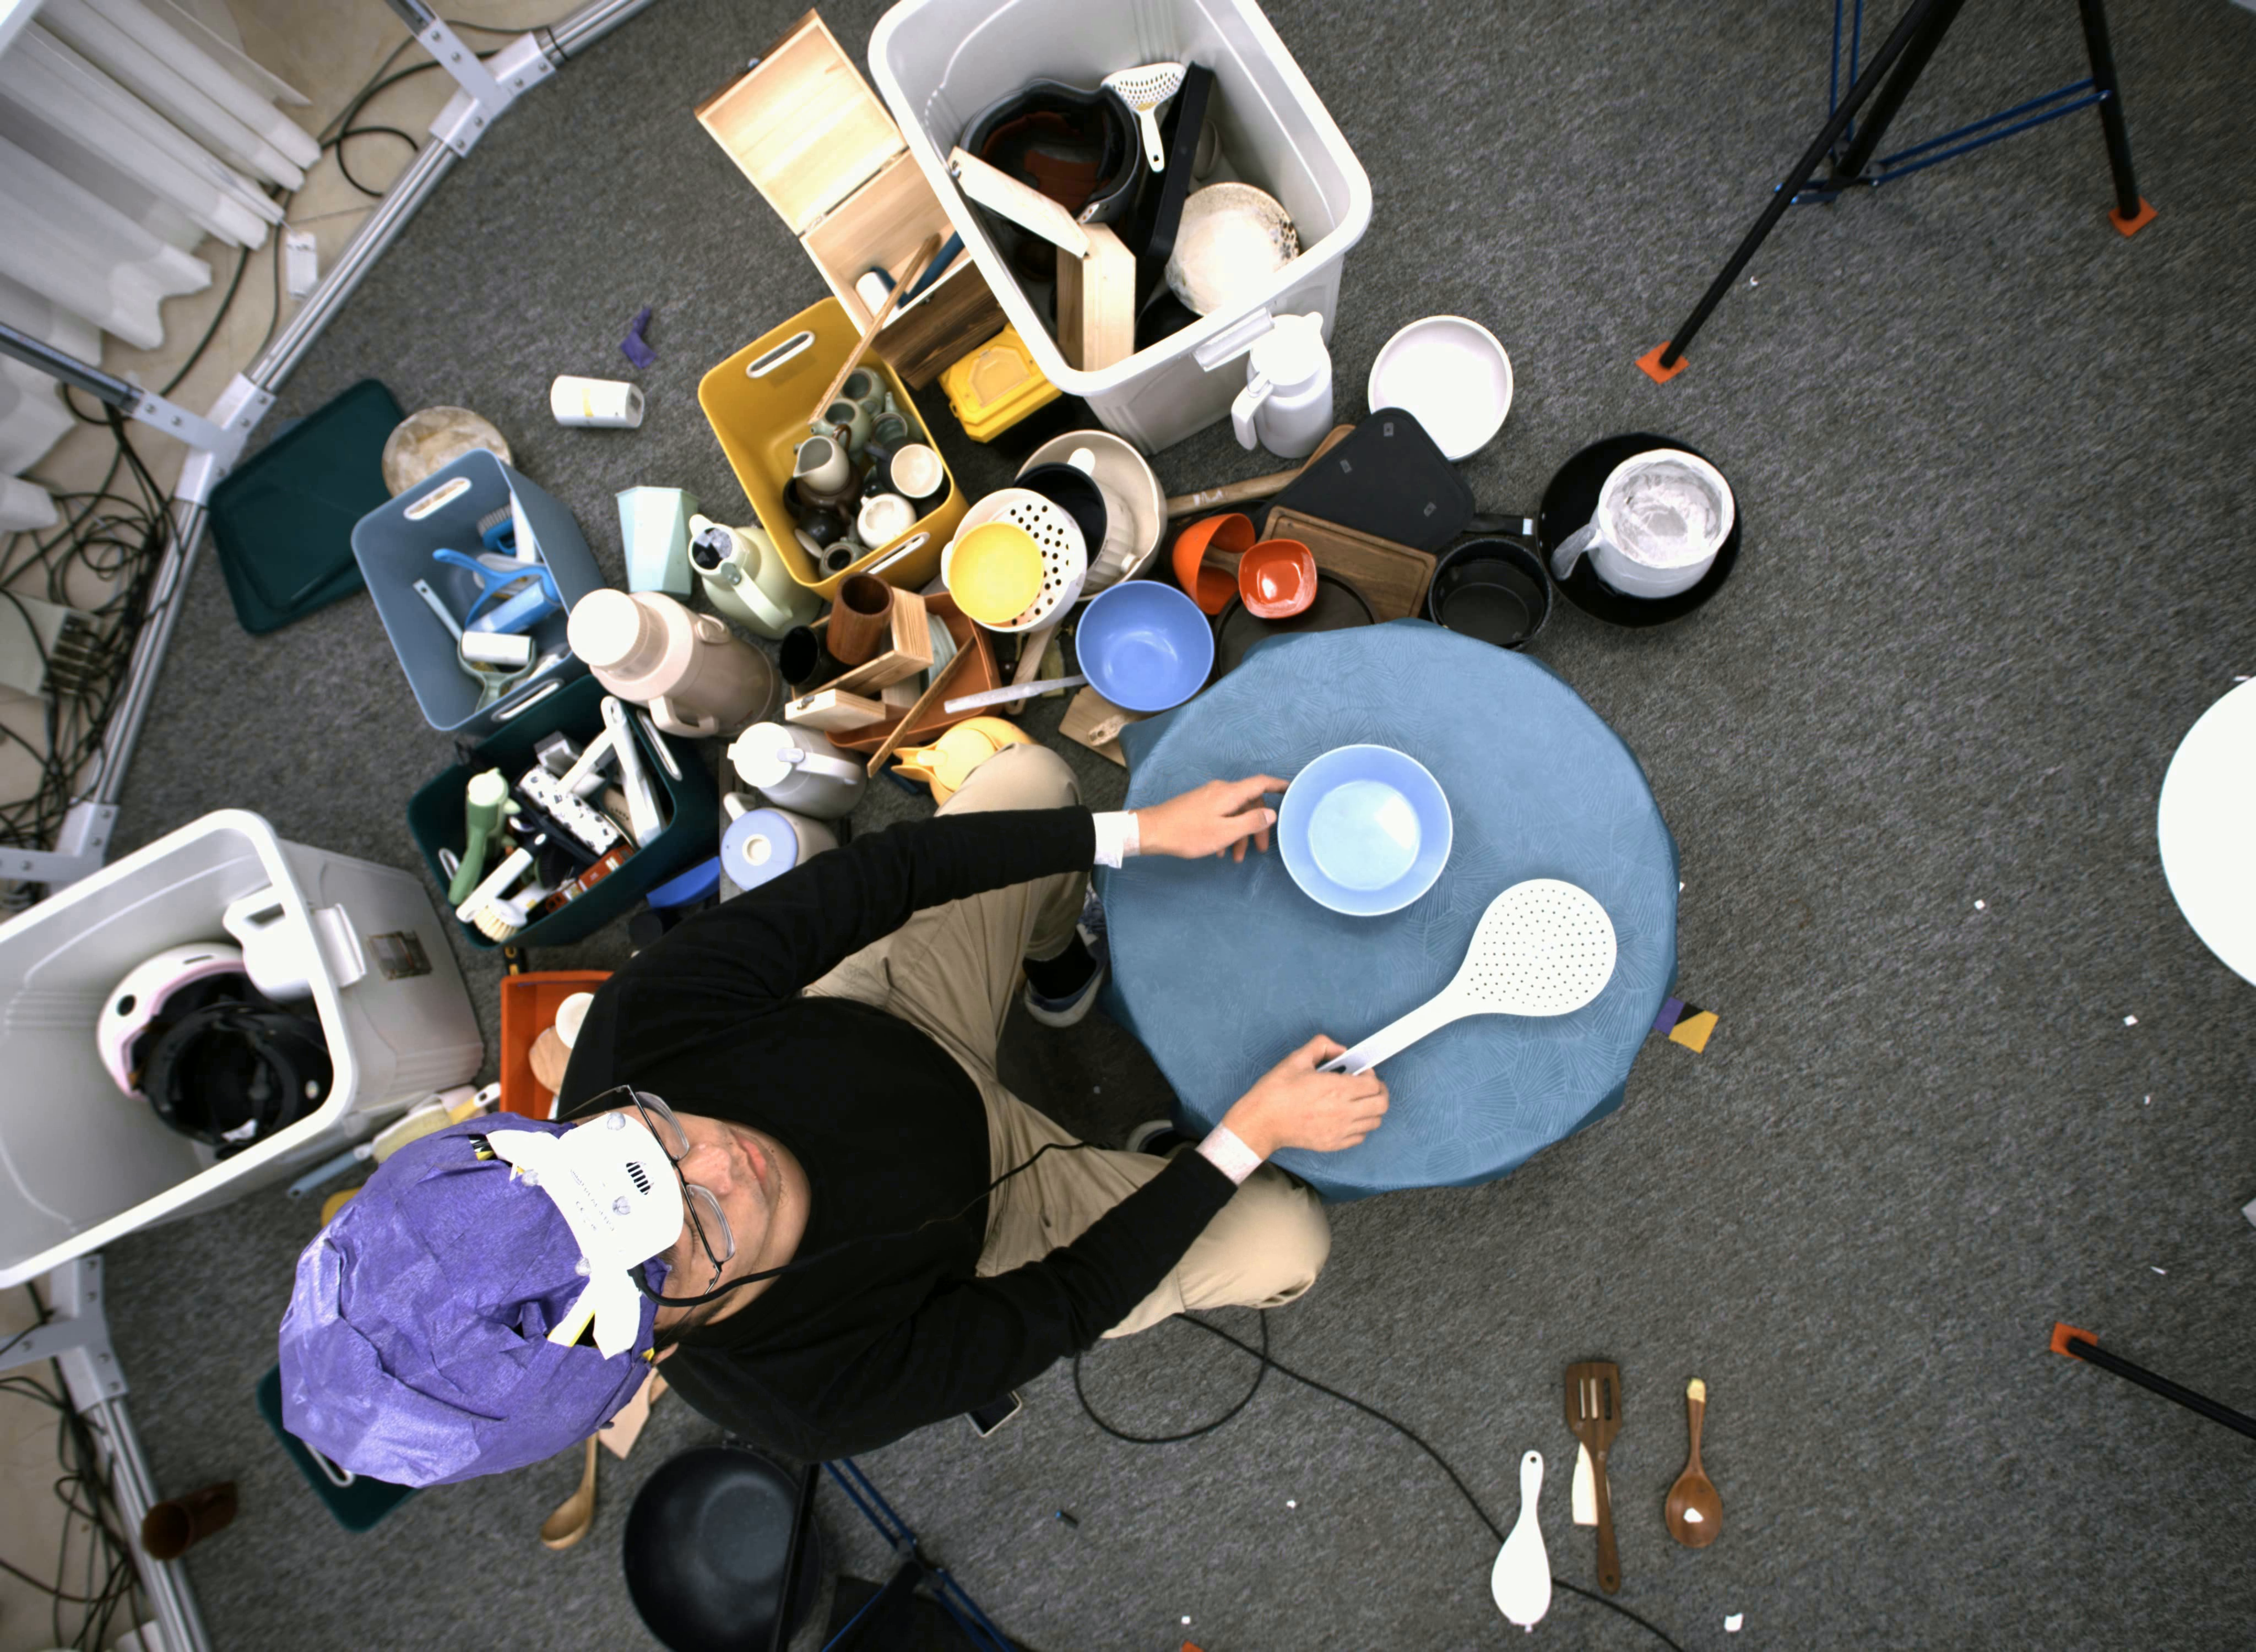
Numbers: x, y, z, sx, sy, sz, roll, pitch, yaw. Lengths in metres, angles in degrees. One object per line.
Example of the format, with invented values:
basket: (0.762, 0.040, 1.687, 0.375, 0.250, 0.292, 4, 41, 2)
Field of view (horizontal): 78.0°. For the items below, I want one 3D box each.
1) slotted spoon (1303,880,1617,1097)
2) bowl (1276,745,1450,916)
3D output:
slotted spoon: (0.334, 0.178, 1.412, 0.351, 0.046, 0.135, -31, 78, 5)
bowl: (0.244, 0.006, 1.433, 0.177, 0.070, 0.175, -1, 87, 11)
